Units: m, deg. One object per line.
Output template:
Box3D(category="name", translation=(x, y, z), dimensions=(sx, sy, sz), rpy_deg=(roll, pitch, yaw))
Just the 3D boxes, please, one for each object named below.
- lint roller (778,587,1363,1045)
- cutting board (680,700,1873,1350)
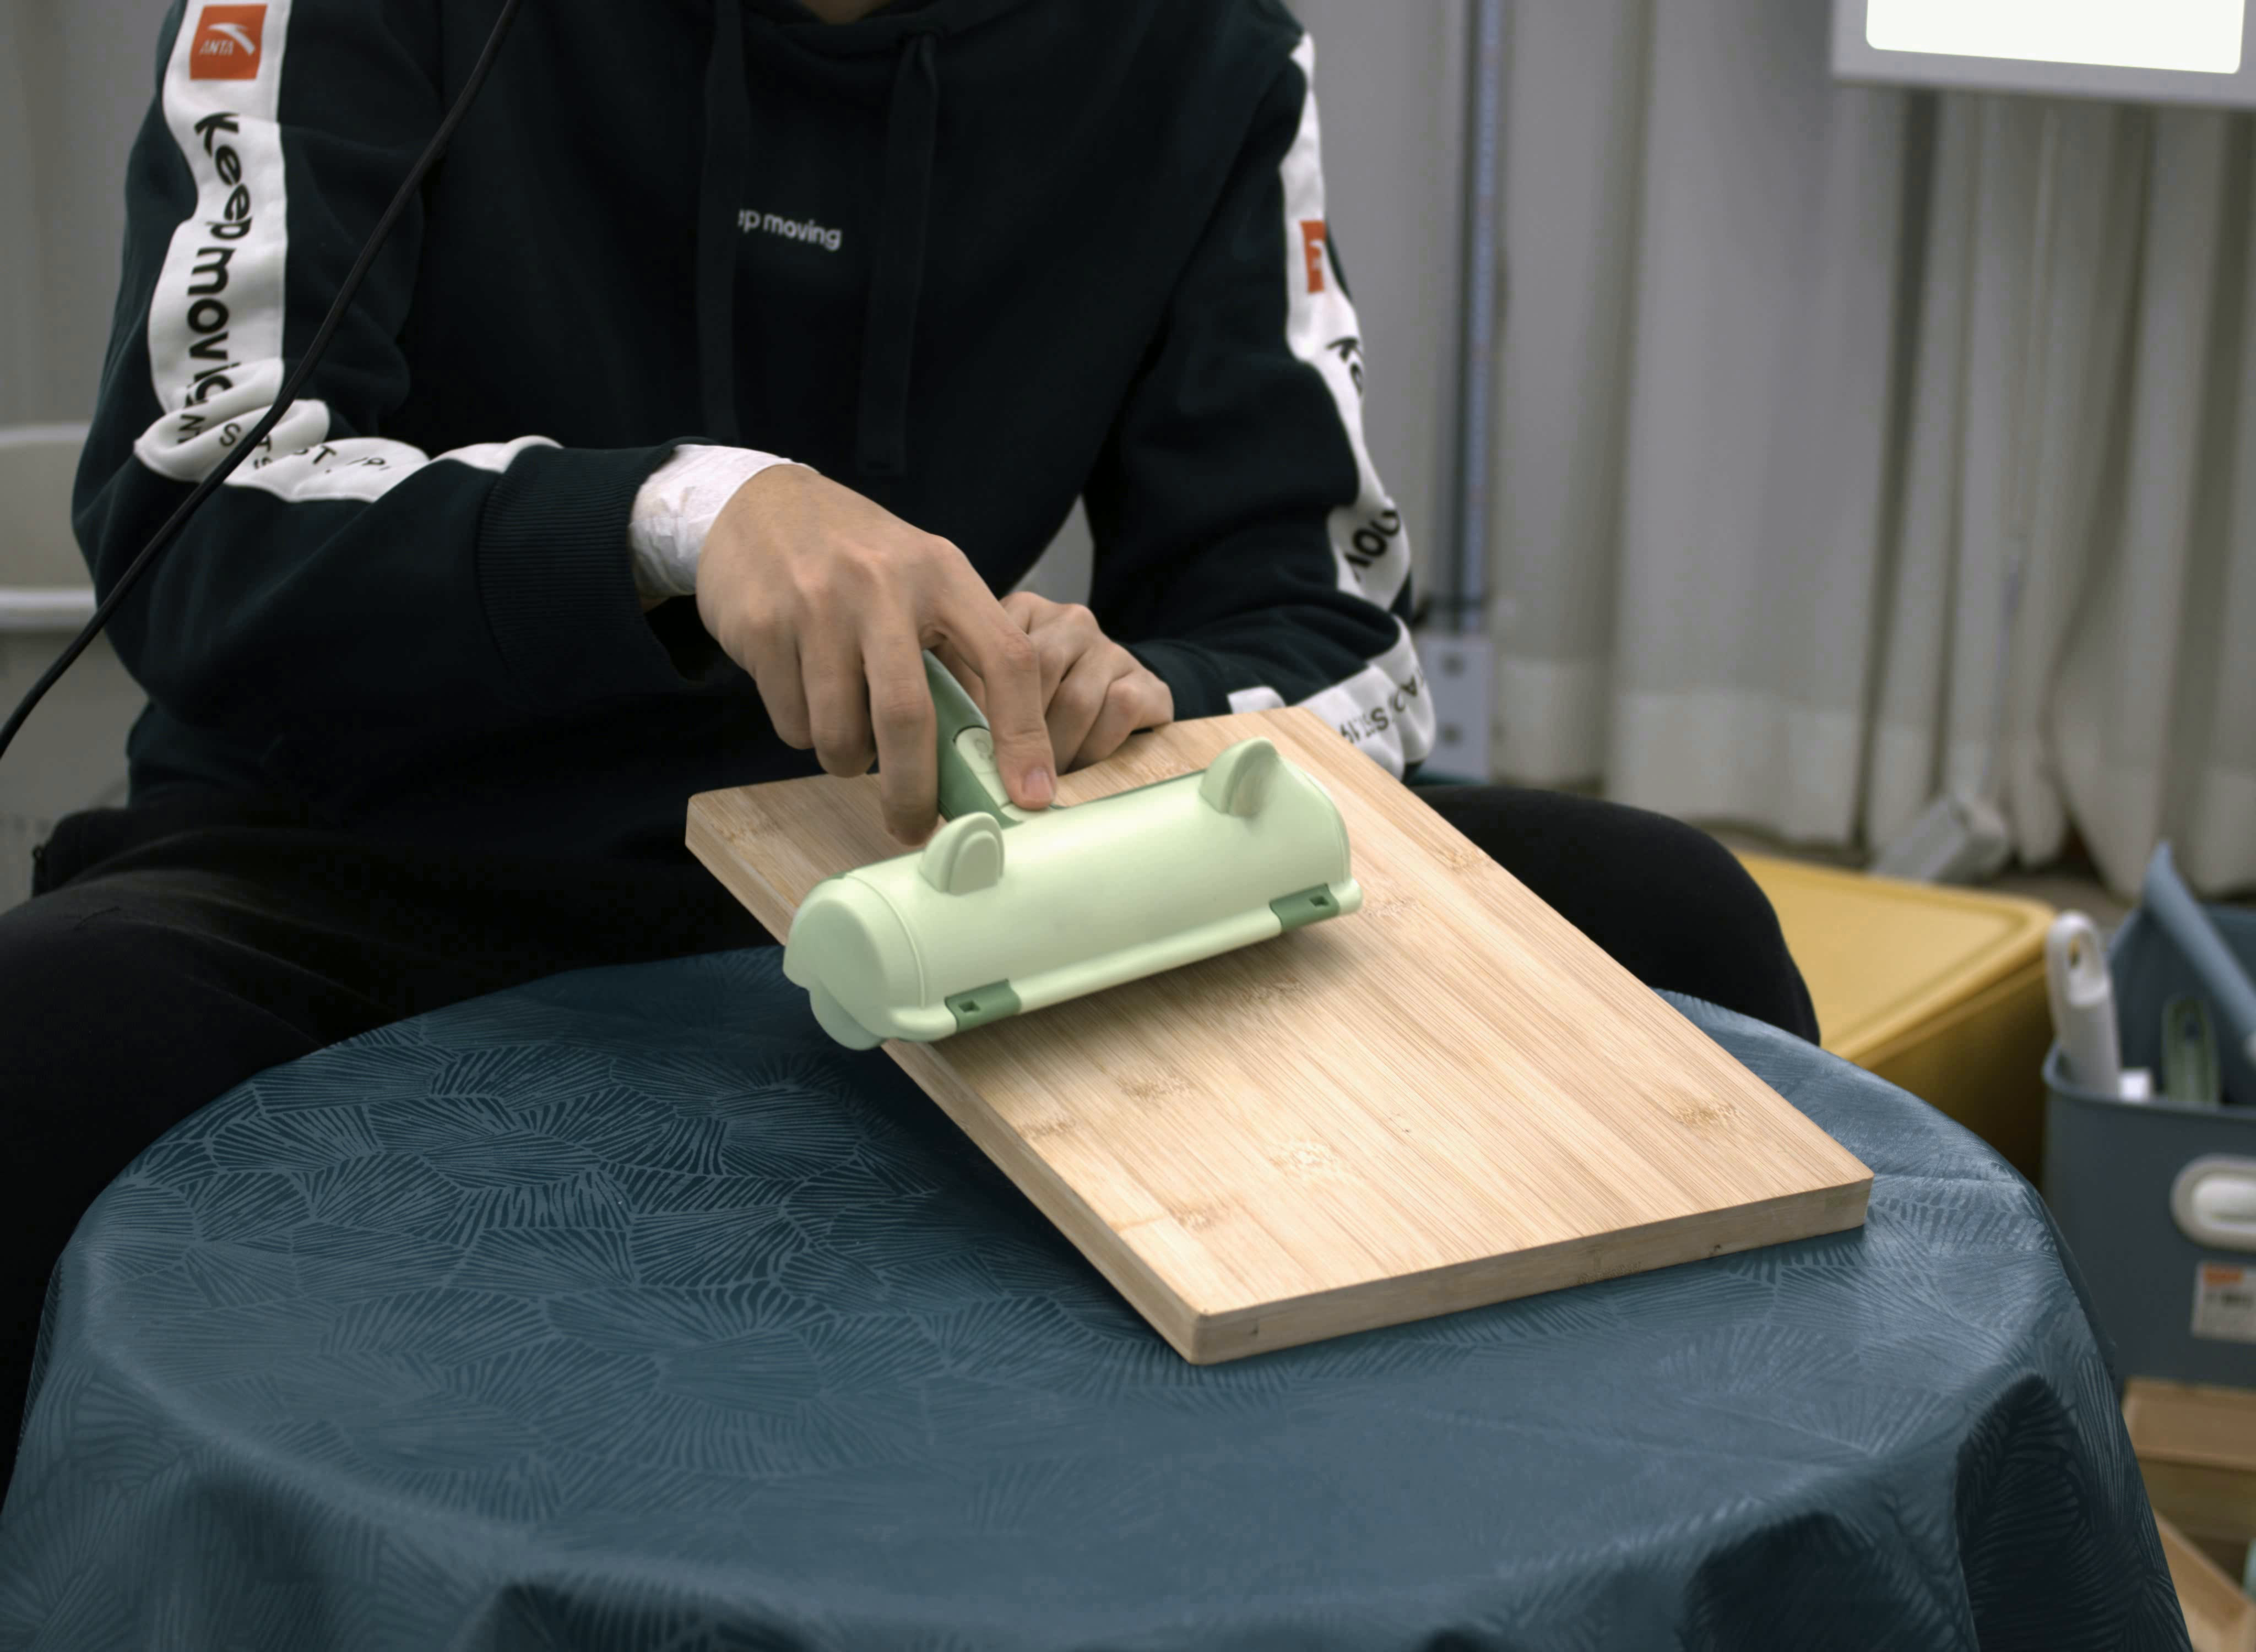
Box3D(category="lint roller", translation=(-0.043, -0.024, 1.641), dimensions=(0.199, 0.082, 0.182), rpy_deg=(-16, 62, -40))
Box3D(category="cutting board", translation=(0.038, 0.054, 1.663), dimensions=(0.252, 0.024, 0.343), rpy_deg=(-9, 31, -30))
